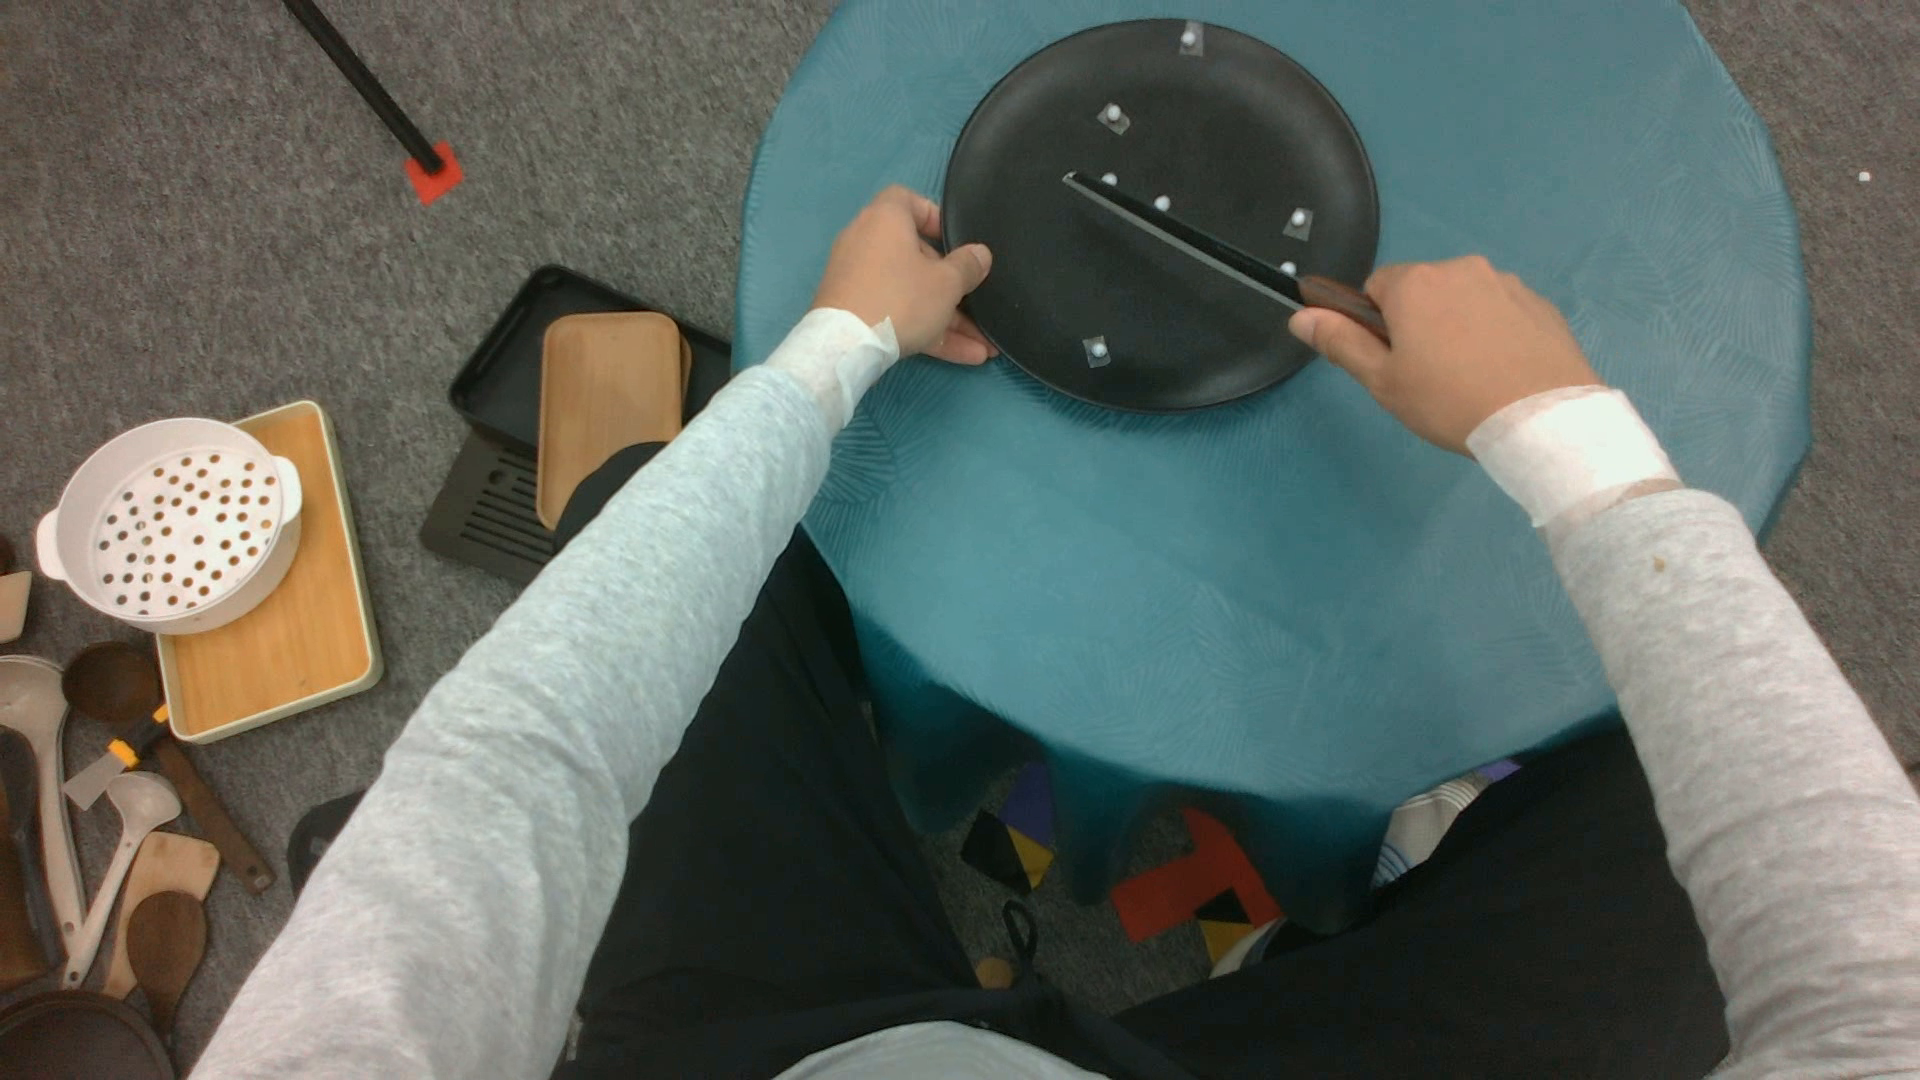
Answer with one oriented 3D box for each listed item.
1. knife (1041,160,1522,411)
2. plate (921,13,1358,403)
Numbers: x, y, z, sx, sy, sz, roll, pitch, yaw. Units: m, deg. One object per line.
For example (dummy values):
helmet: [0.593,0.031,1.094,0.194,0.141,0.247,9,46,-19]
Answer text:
knife: [0.149,-0.137,0.696,0.289,0.050,0.020,34,88,29]
plate: [0.100,-0.188,0.779,0.244,0.023,0.245,0,74,1]
